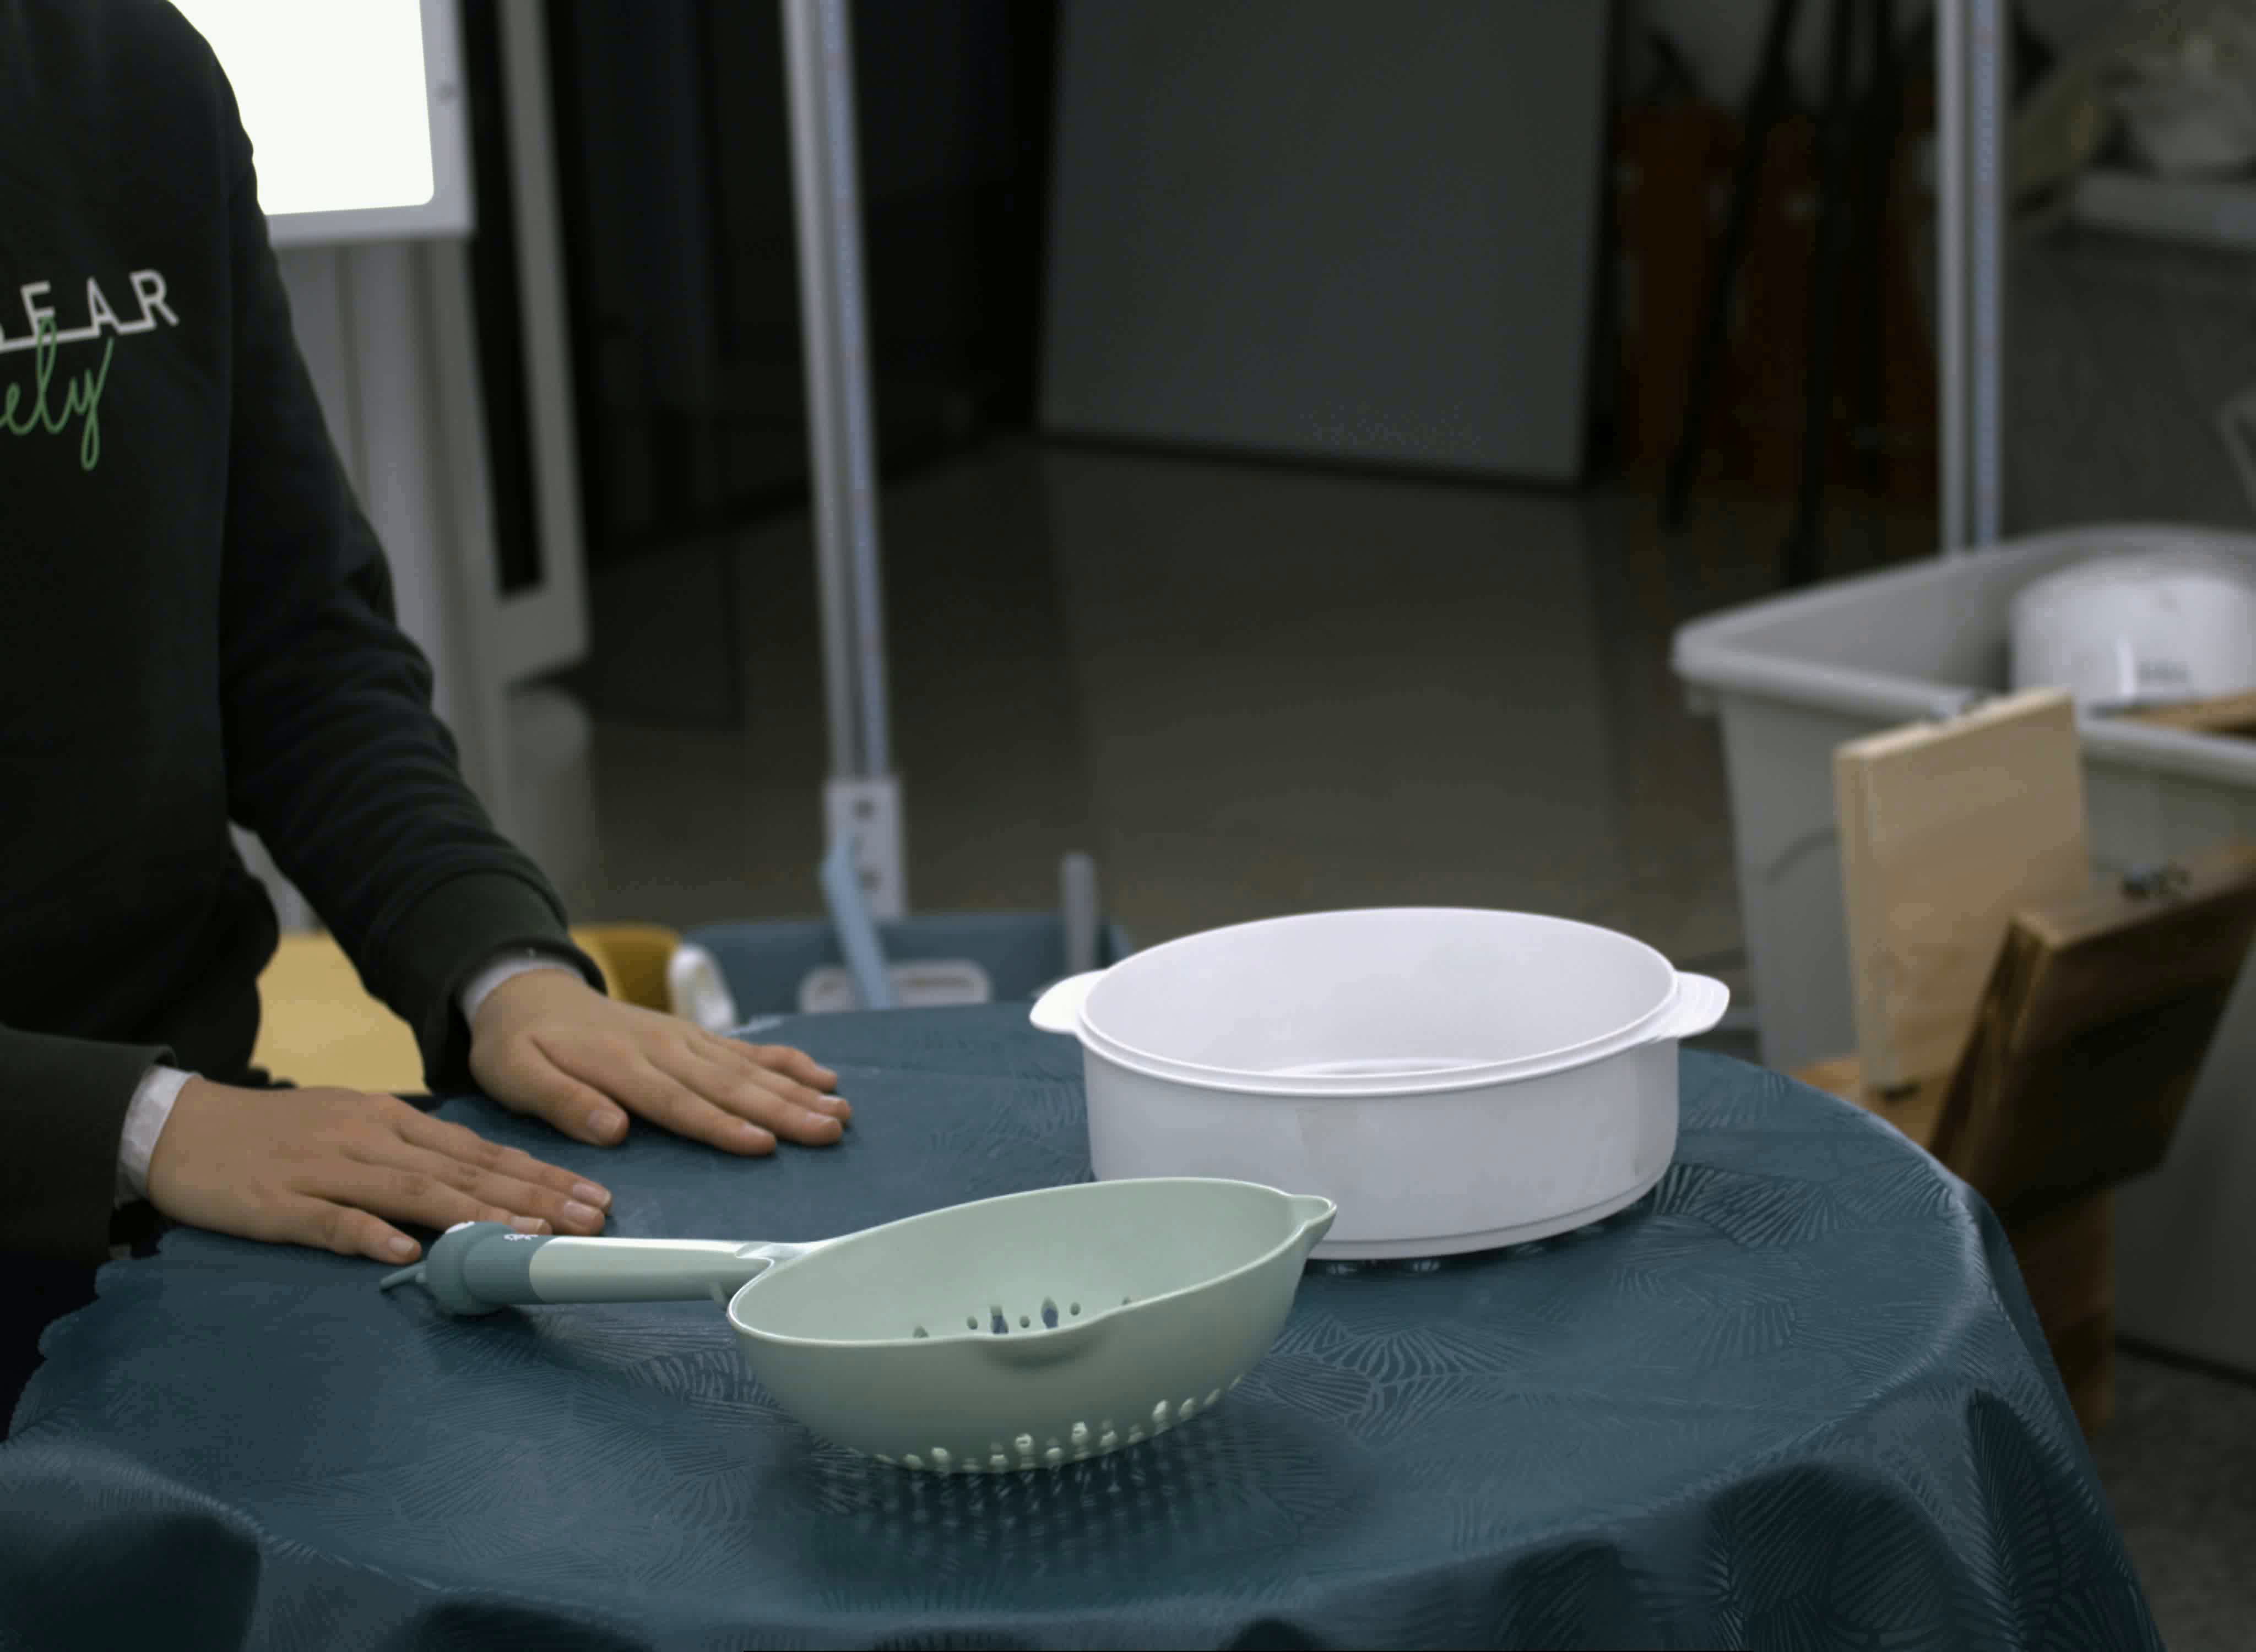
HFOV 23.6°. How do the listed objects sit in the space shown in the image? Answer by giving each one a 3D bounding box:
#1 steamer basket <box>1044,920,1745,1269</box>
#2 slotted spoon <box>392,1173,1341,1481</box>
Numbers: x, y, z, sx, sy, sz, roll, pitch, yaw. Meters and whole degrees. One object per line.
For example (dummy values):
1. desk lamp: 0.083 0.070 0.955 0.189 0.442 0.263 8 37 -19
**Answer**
1. steamer basket: 0.088 0.086 1.752 0.229 0.070 0.201 -1 13 13
2. slotted spoon: -0.100 0.138 1.599 0.362 0.076 0.166 8 18 41
